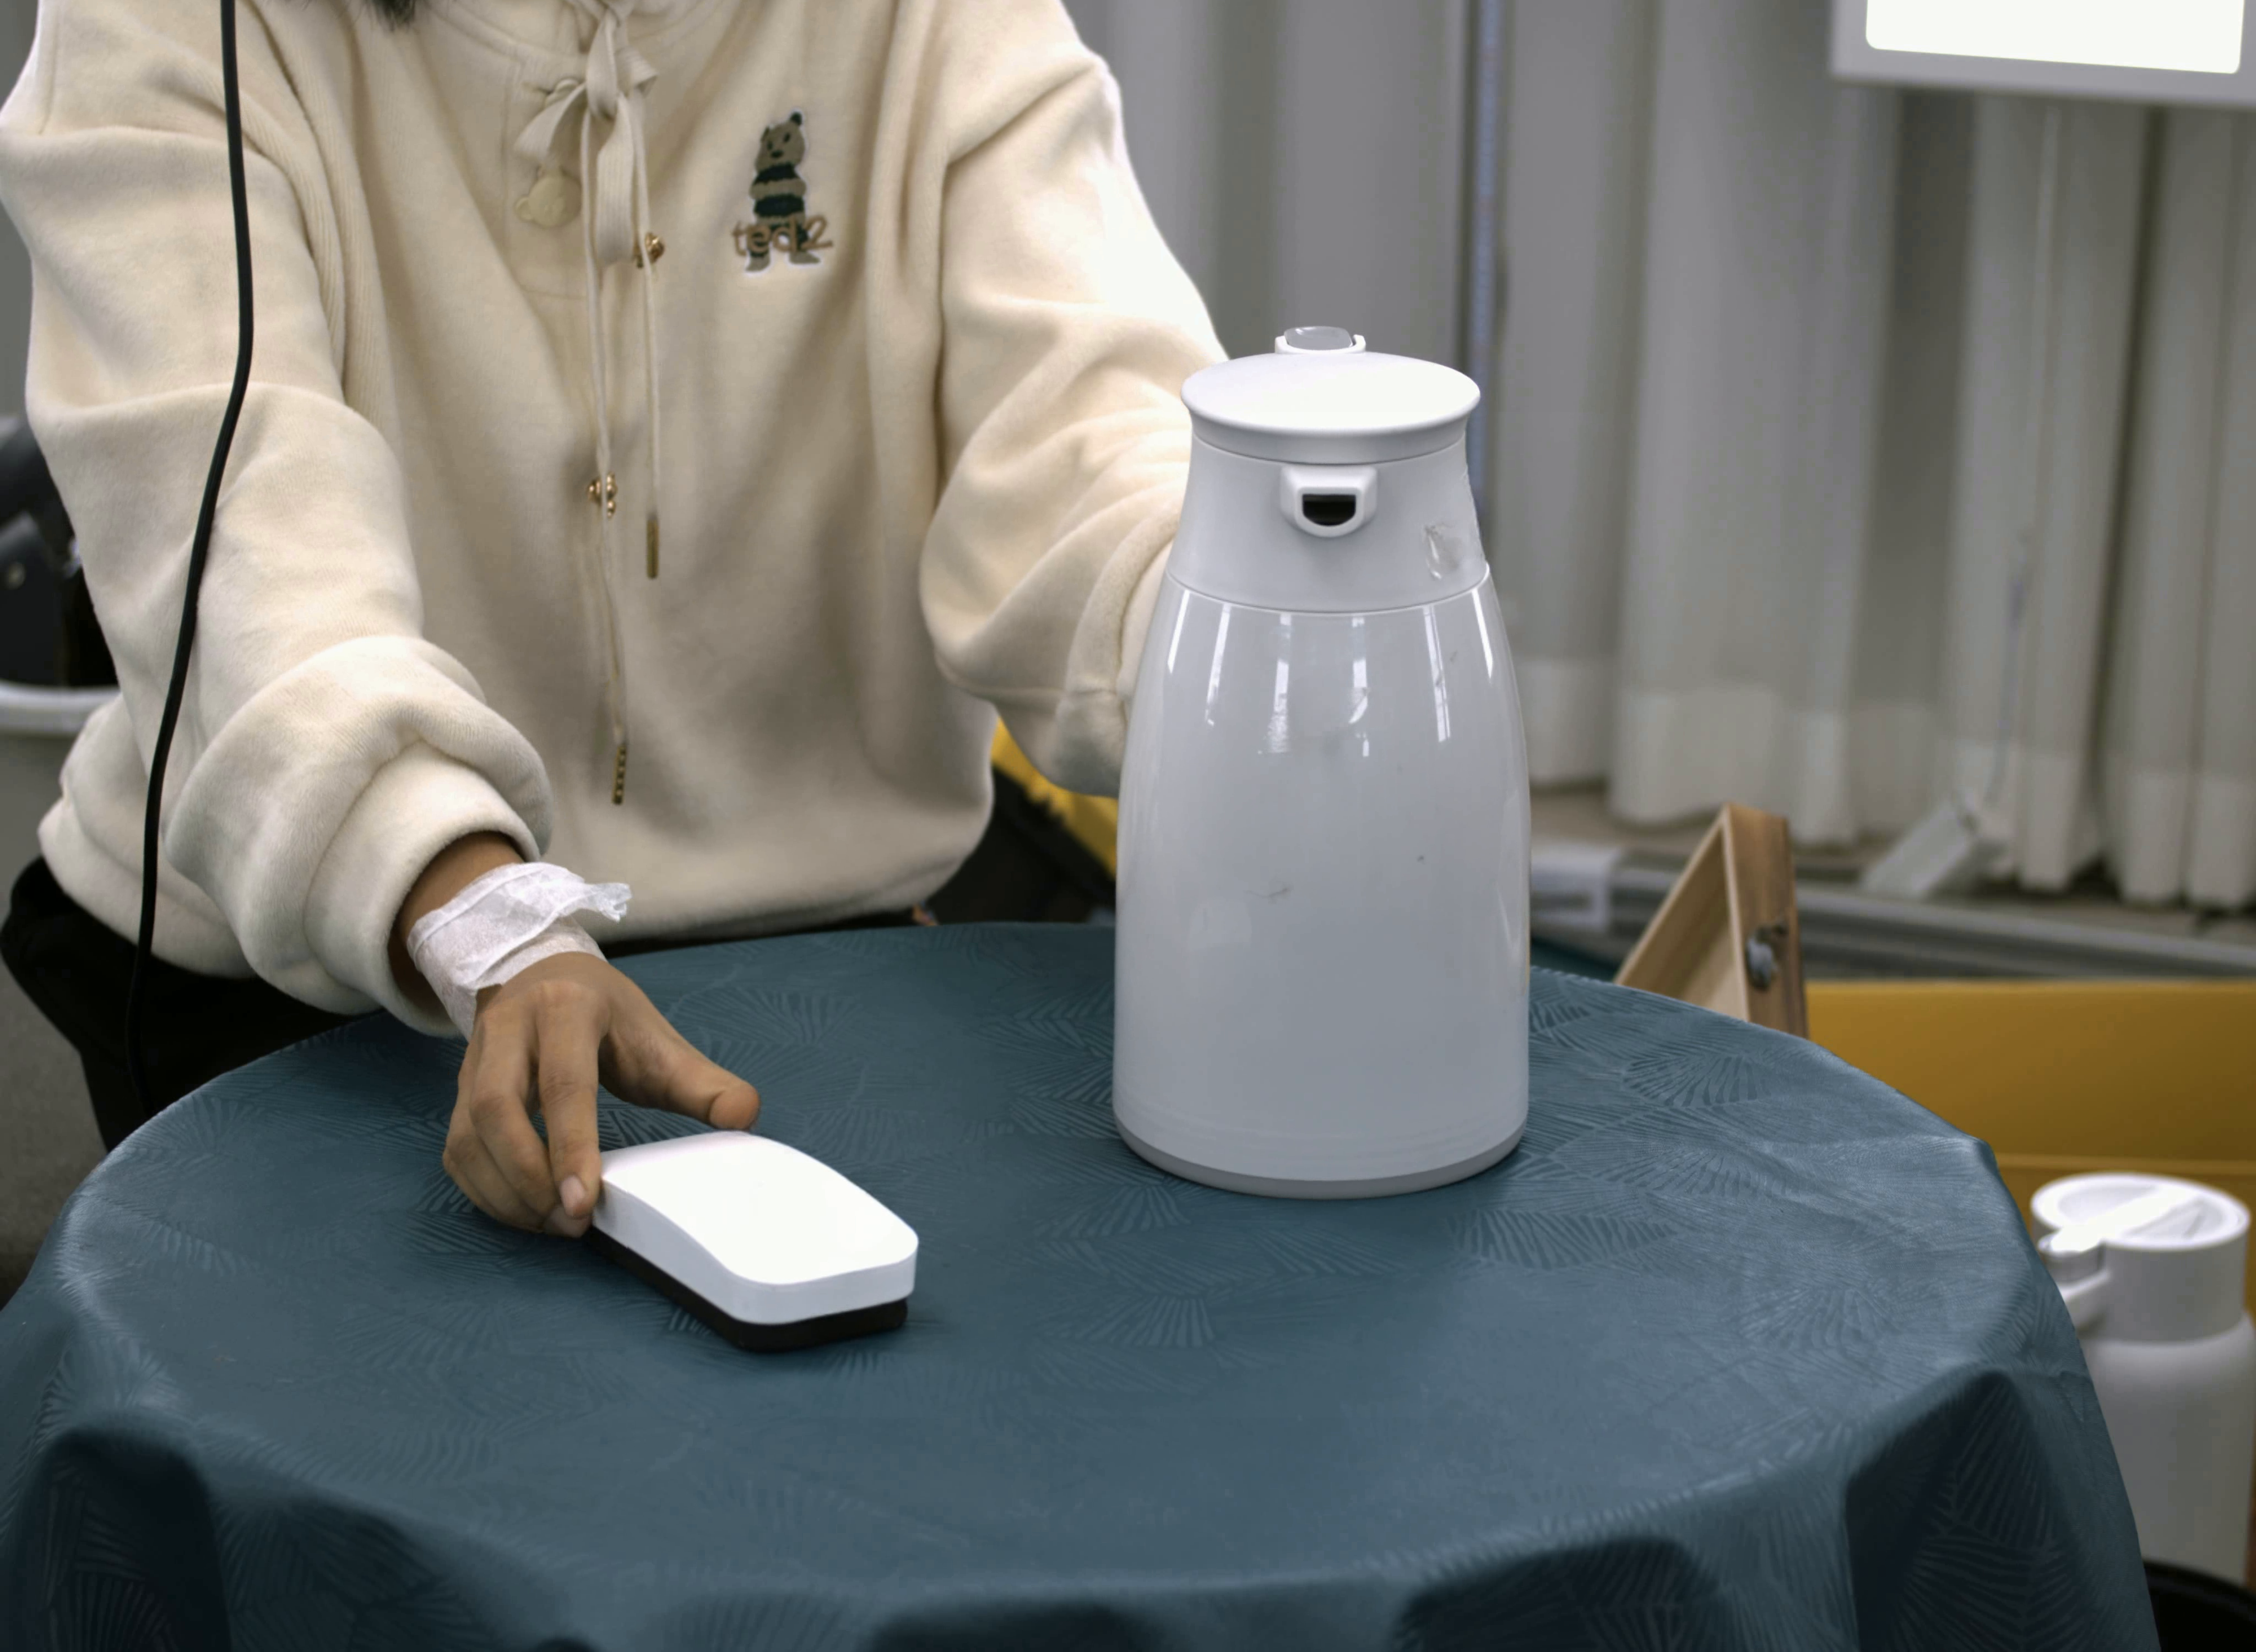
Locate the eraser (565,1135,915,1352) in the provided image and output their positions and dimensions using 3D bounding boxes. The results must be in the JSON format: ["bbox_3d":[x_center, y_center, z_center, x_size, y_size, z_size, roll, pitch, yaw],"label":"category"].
[{"bbox_3d":[-0.114,0.117,1.540,0.064,0.035,0.129,-6,17,-30],"label":"eraser"}]

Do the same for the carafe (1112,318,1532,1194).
[{"bbox_3d":[0.060,-0.031,1.650,0.132,0.251,0.166,0,19,0],"label":"carafe"}]
